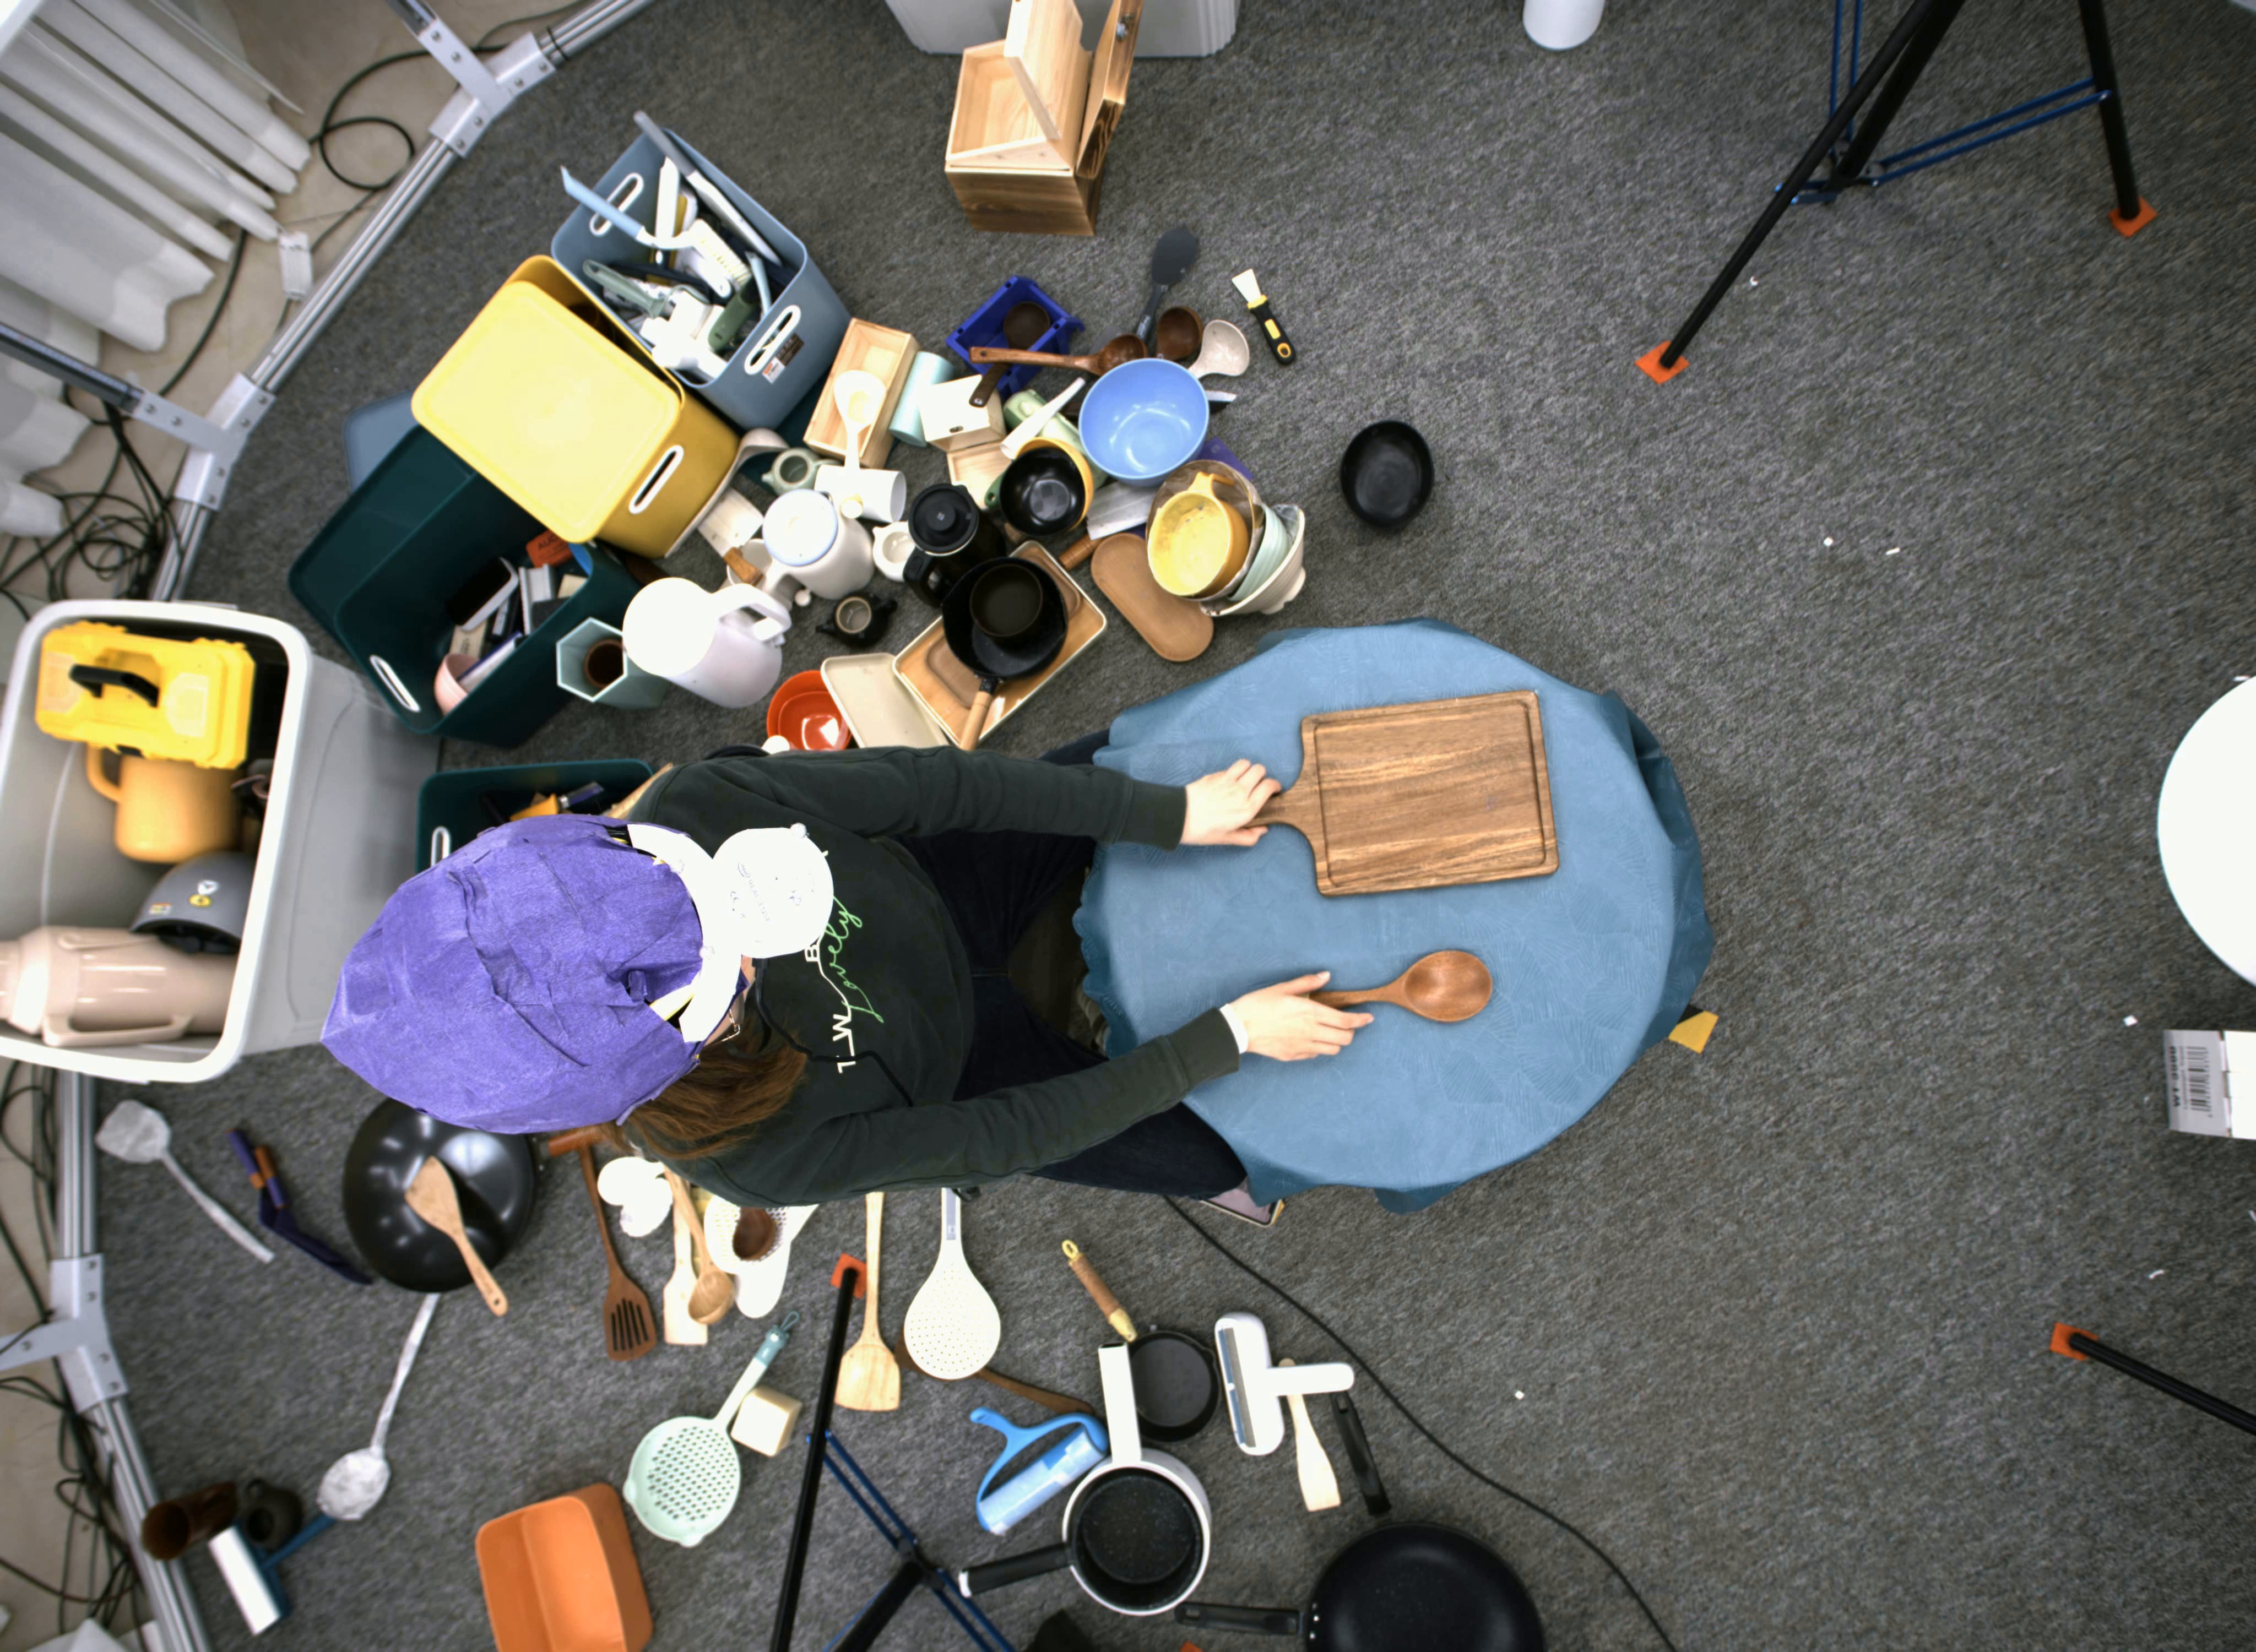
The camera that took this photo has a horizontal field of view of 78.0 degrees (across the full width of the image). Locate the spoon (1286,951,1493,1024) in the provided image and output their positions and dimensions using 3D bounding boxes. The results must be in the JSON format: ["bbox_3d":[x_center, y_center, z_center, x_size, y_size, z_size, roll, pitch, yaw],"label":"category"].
[{"bbox_3d":[0.272,0.176,1.448,0.217,0.017,0.075,-9,86,9],"label":"spoon"}]

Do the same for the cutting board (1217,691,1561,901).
[{"bbox_3d":[0.269,-0.028,1.463,0.354,0.023,0.200,-6,86,10],"label":"cutting board"}]
